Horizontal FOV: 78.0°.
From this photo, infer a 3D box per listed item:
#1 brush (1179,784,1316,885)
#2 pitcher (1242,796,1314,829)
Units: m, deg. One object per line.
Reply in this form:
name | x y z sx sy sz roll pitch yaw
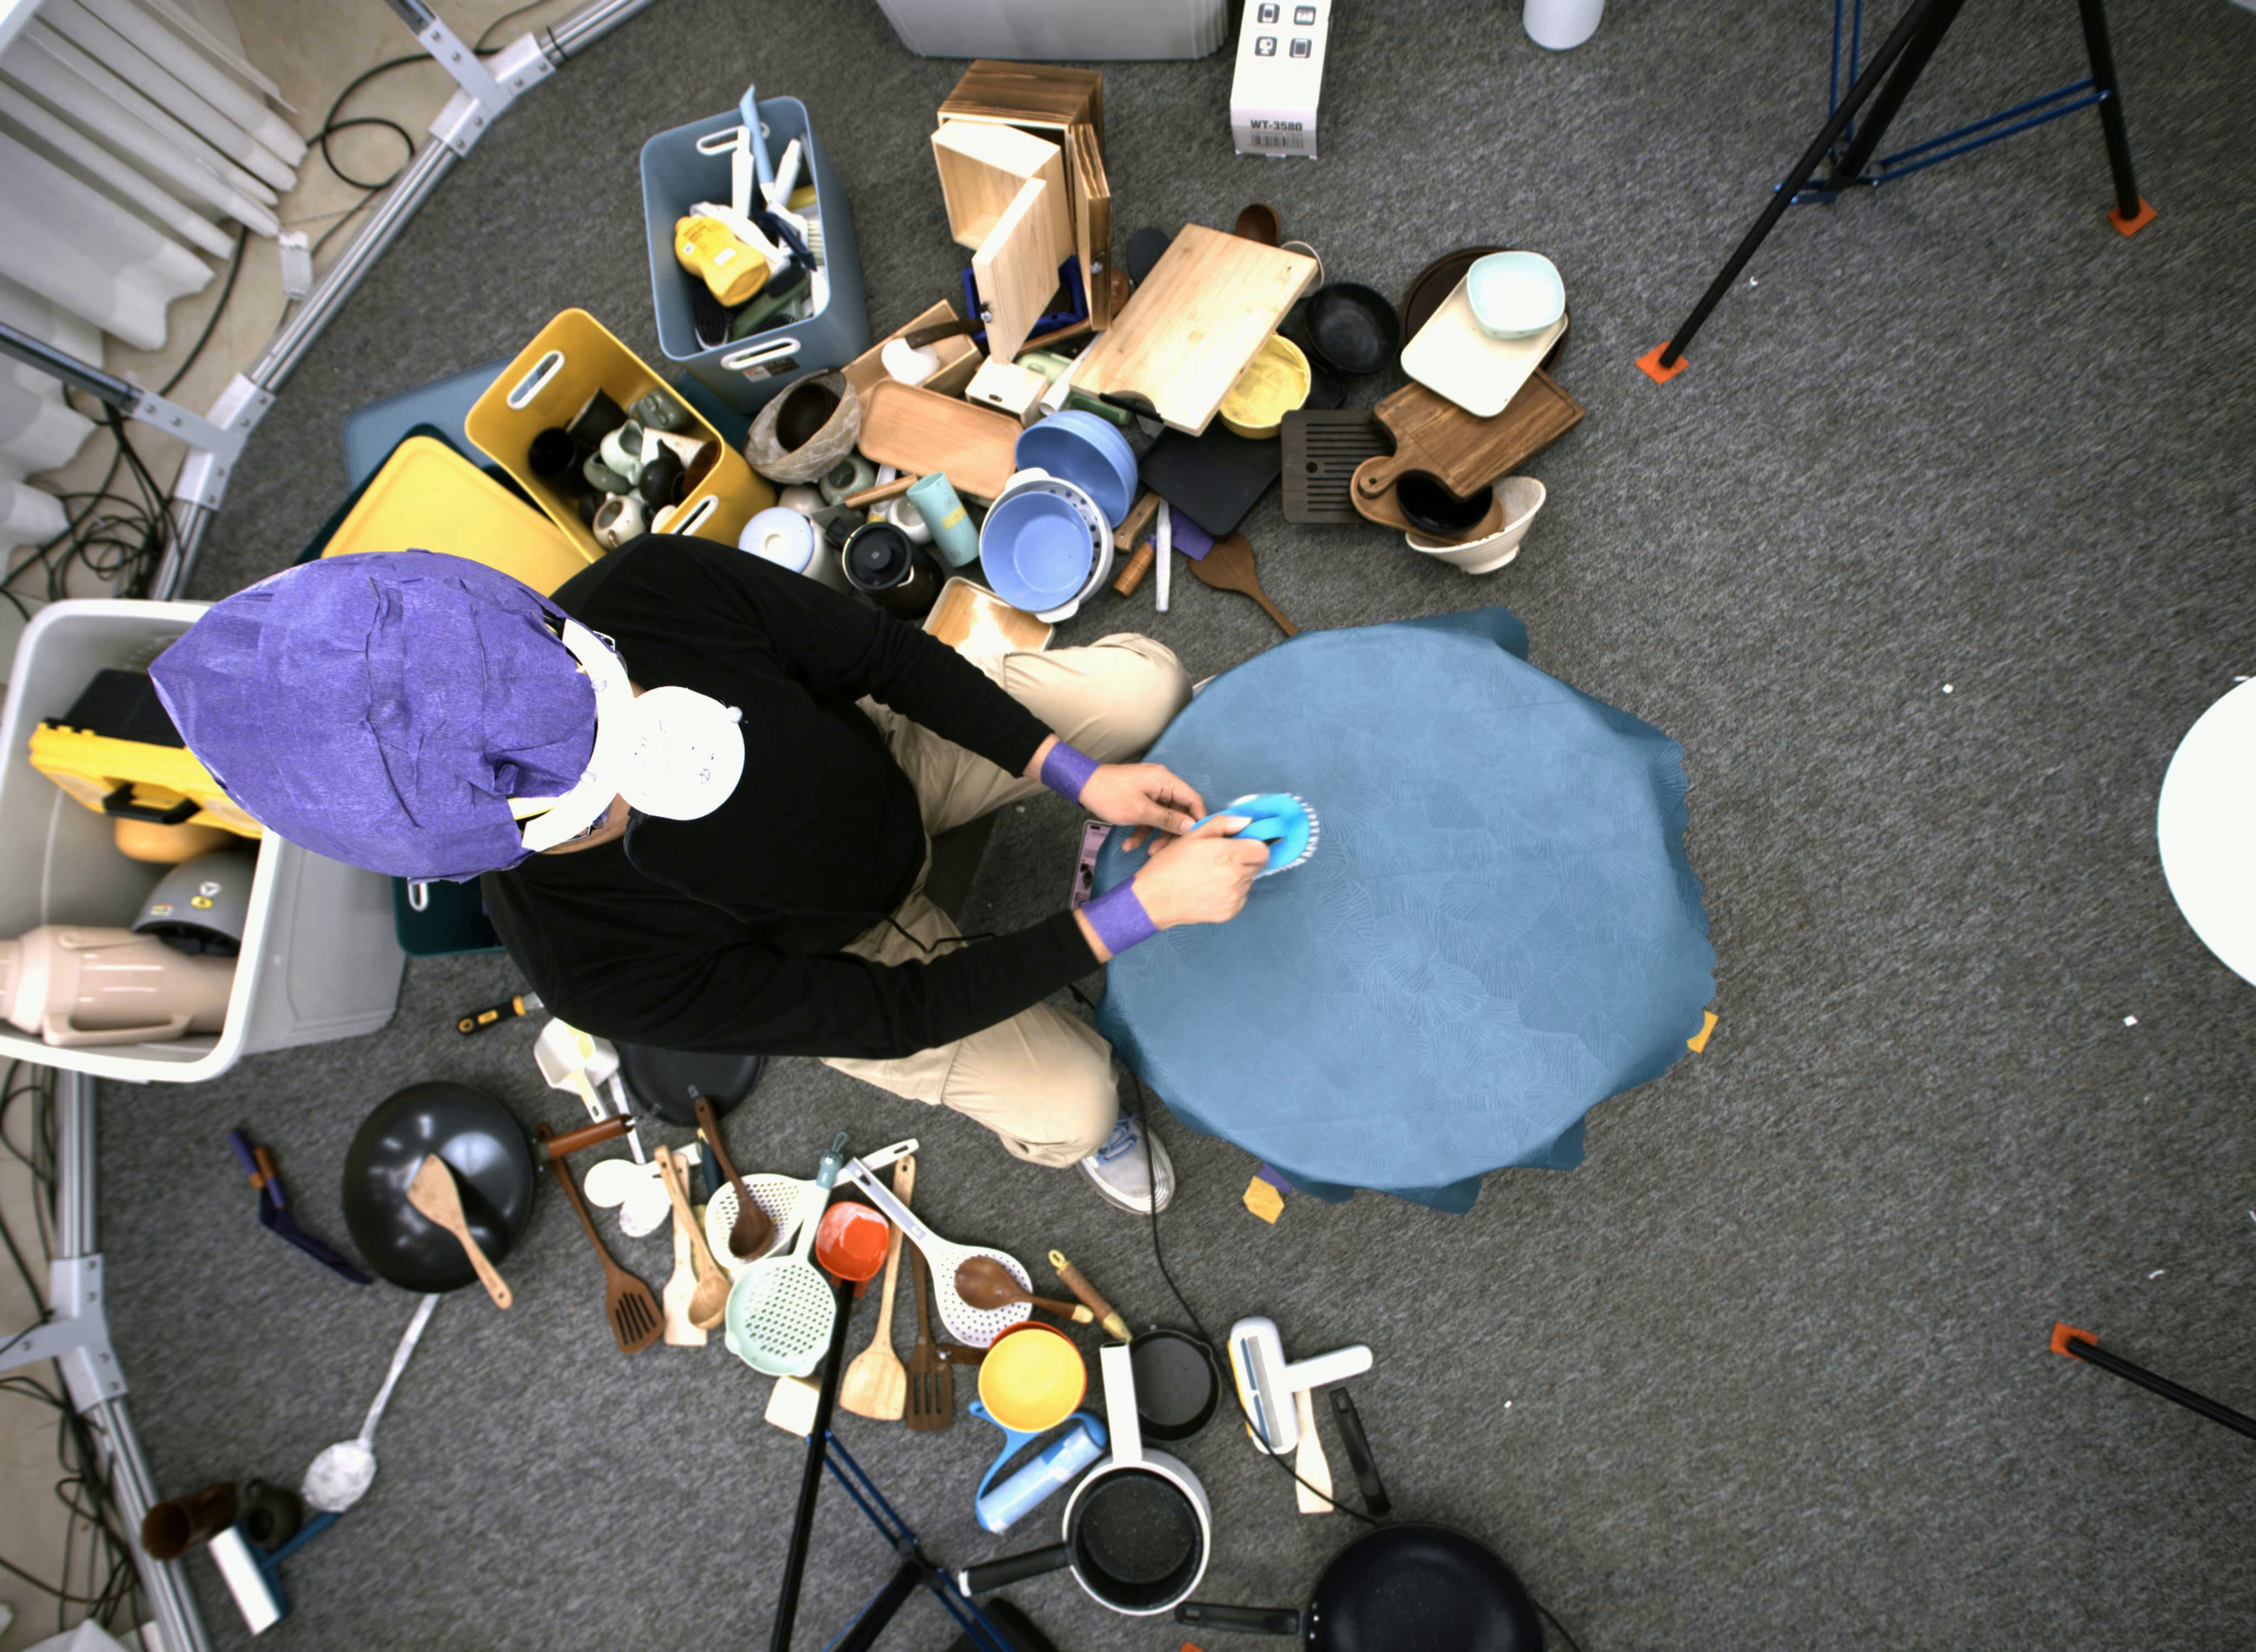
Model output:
brush | 0.114 0.010 1.368 0.143 0.063 0.084 -18 87 26
pitcher | 0.133 0.005 1.444 0.119 0.088 0.075 5 81 7
